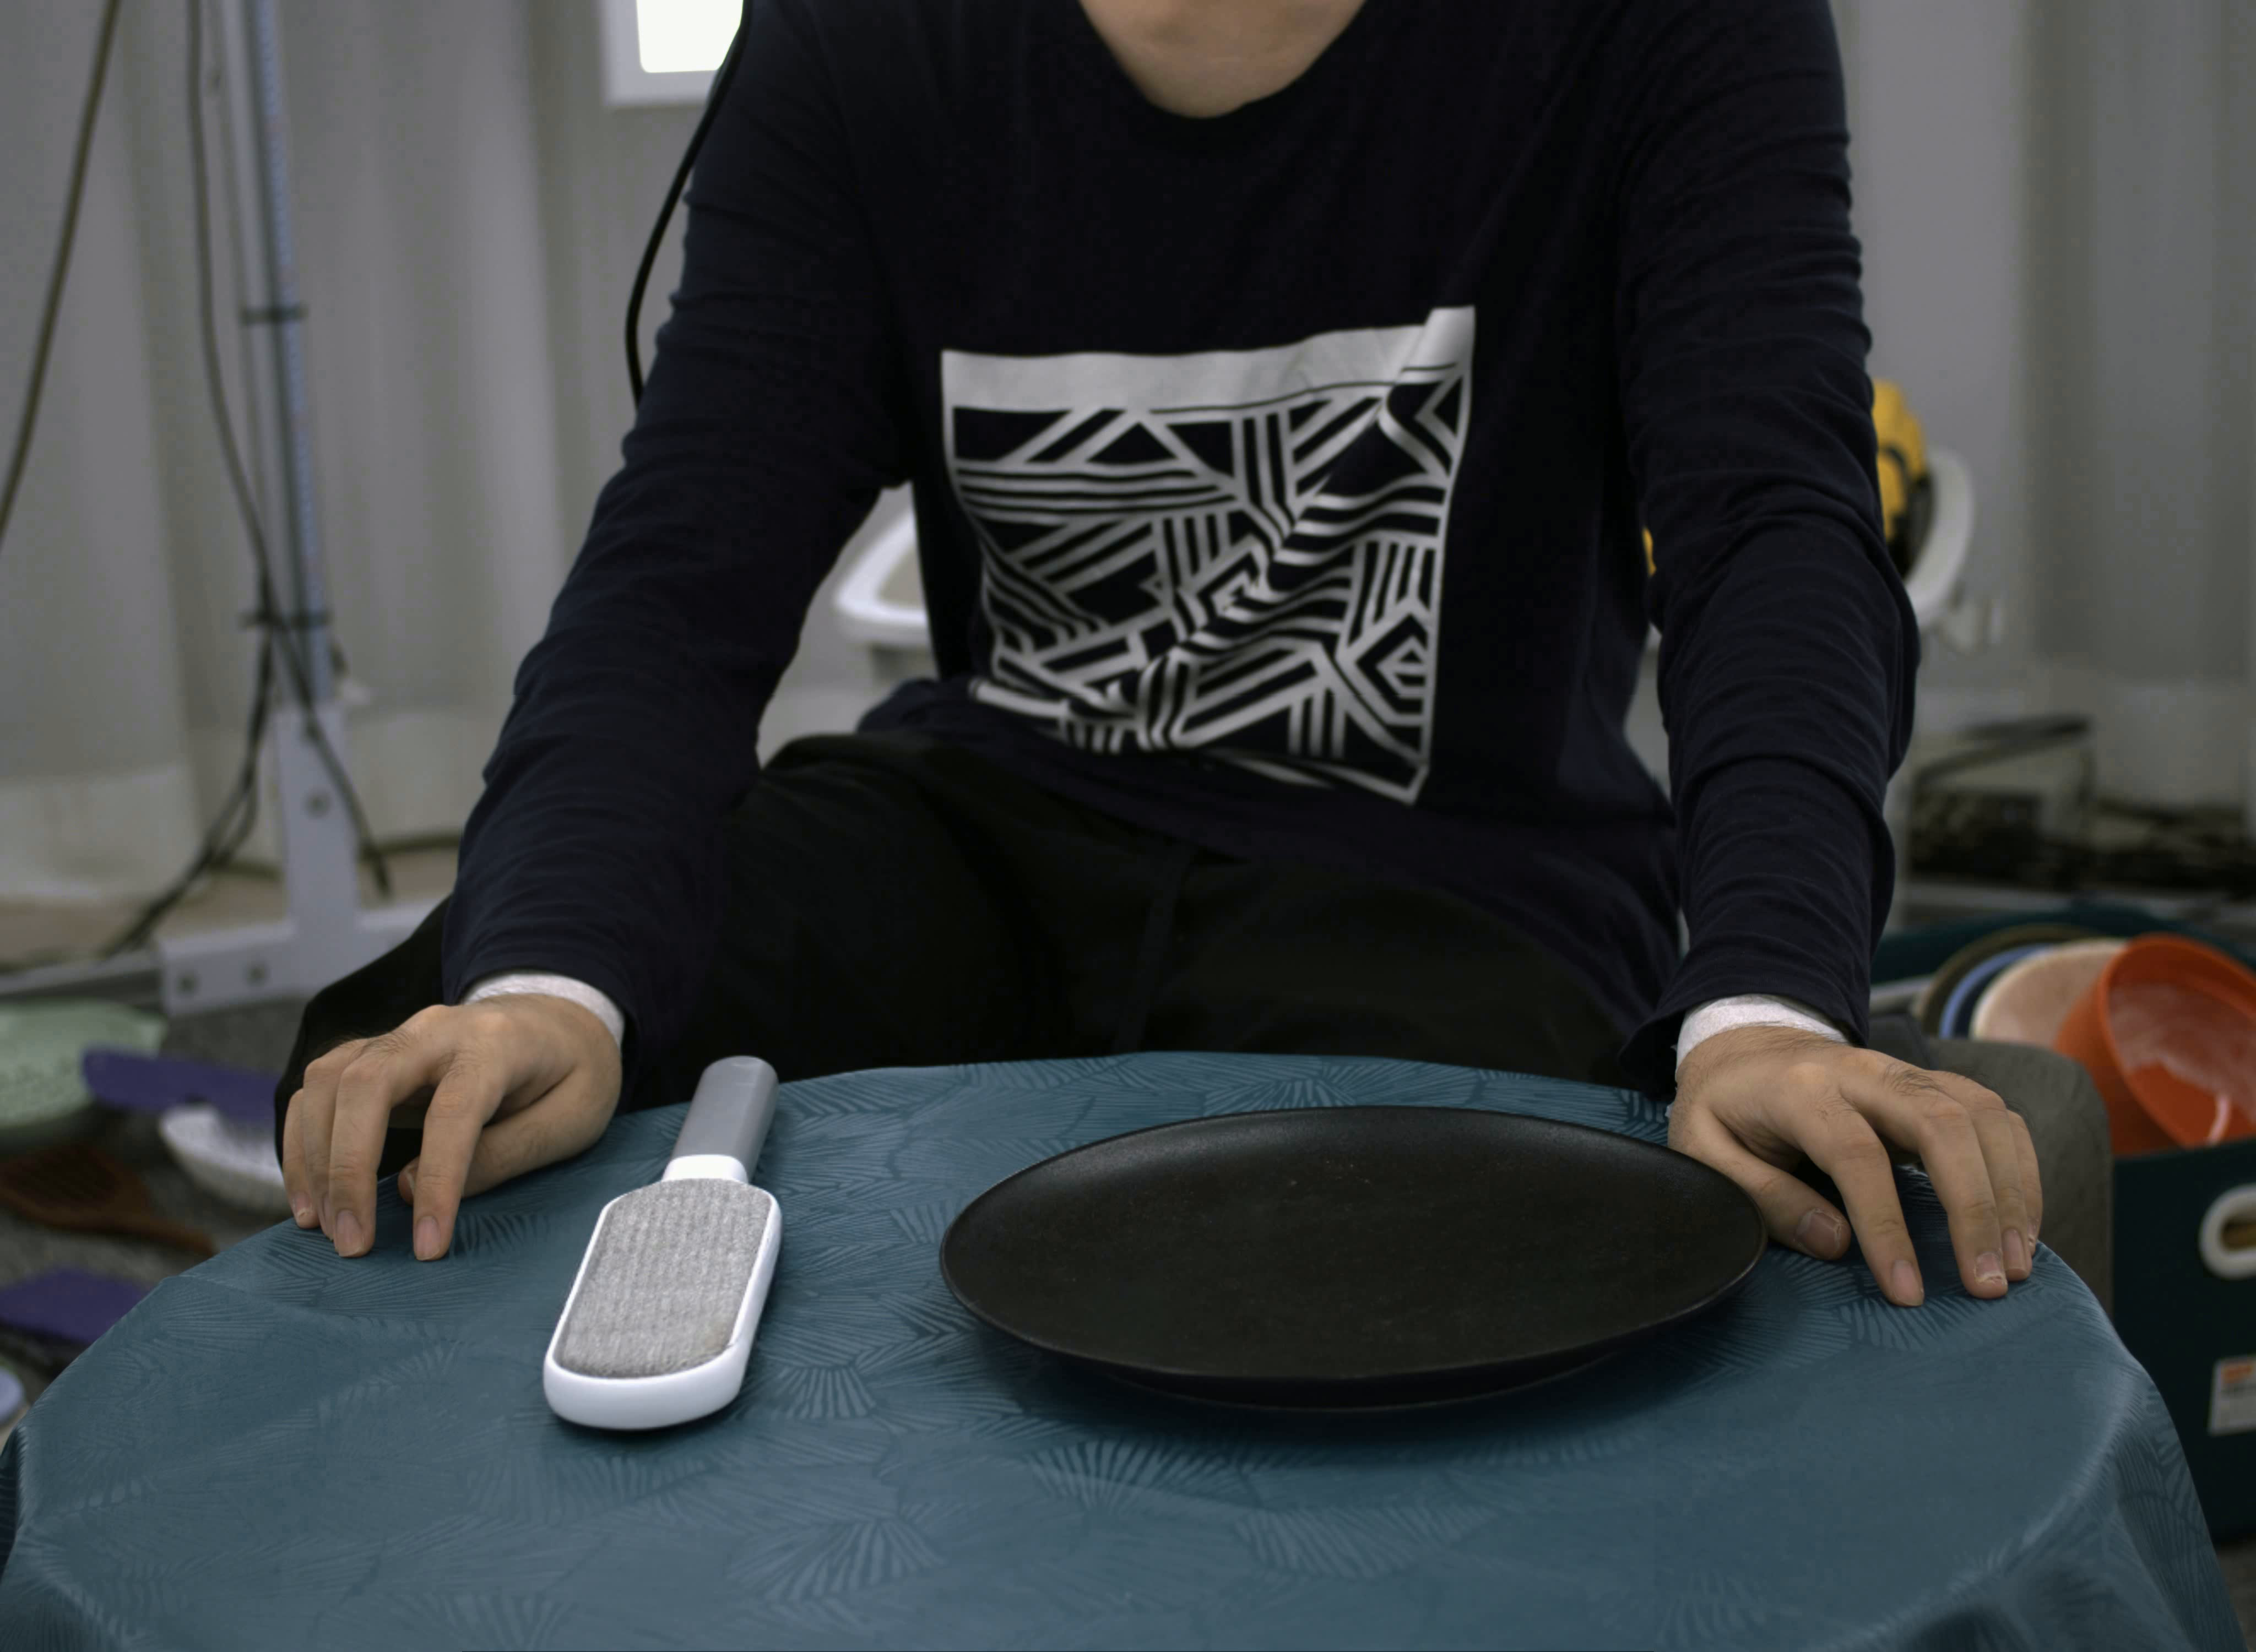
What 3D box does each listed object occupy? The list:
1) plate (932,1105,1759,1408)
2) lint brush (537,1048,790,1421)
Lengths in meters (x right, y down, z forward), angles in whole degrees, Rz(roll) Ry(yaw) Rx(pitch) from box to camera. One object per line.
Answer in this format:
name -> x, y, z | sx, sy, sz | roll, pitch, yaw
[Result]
plate -> 0.064, 0.129, 1.608 | 0.243, 0.023, 0.246 | -3, 15, 0
lint brush -> -0.132, 0.120, 1.669 | 0.060, 0.021, 0.311 | -7, 14, 4
